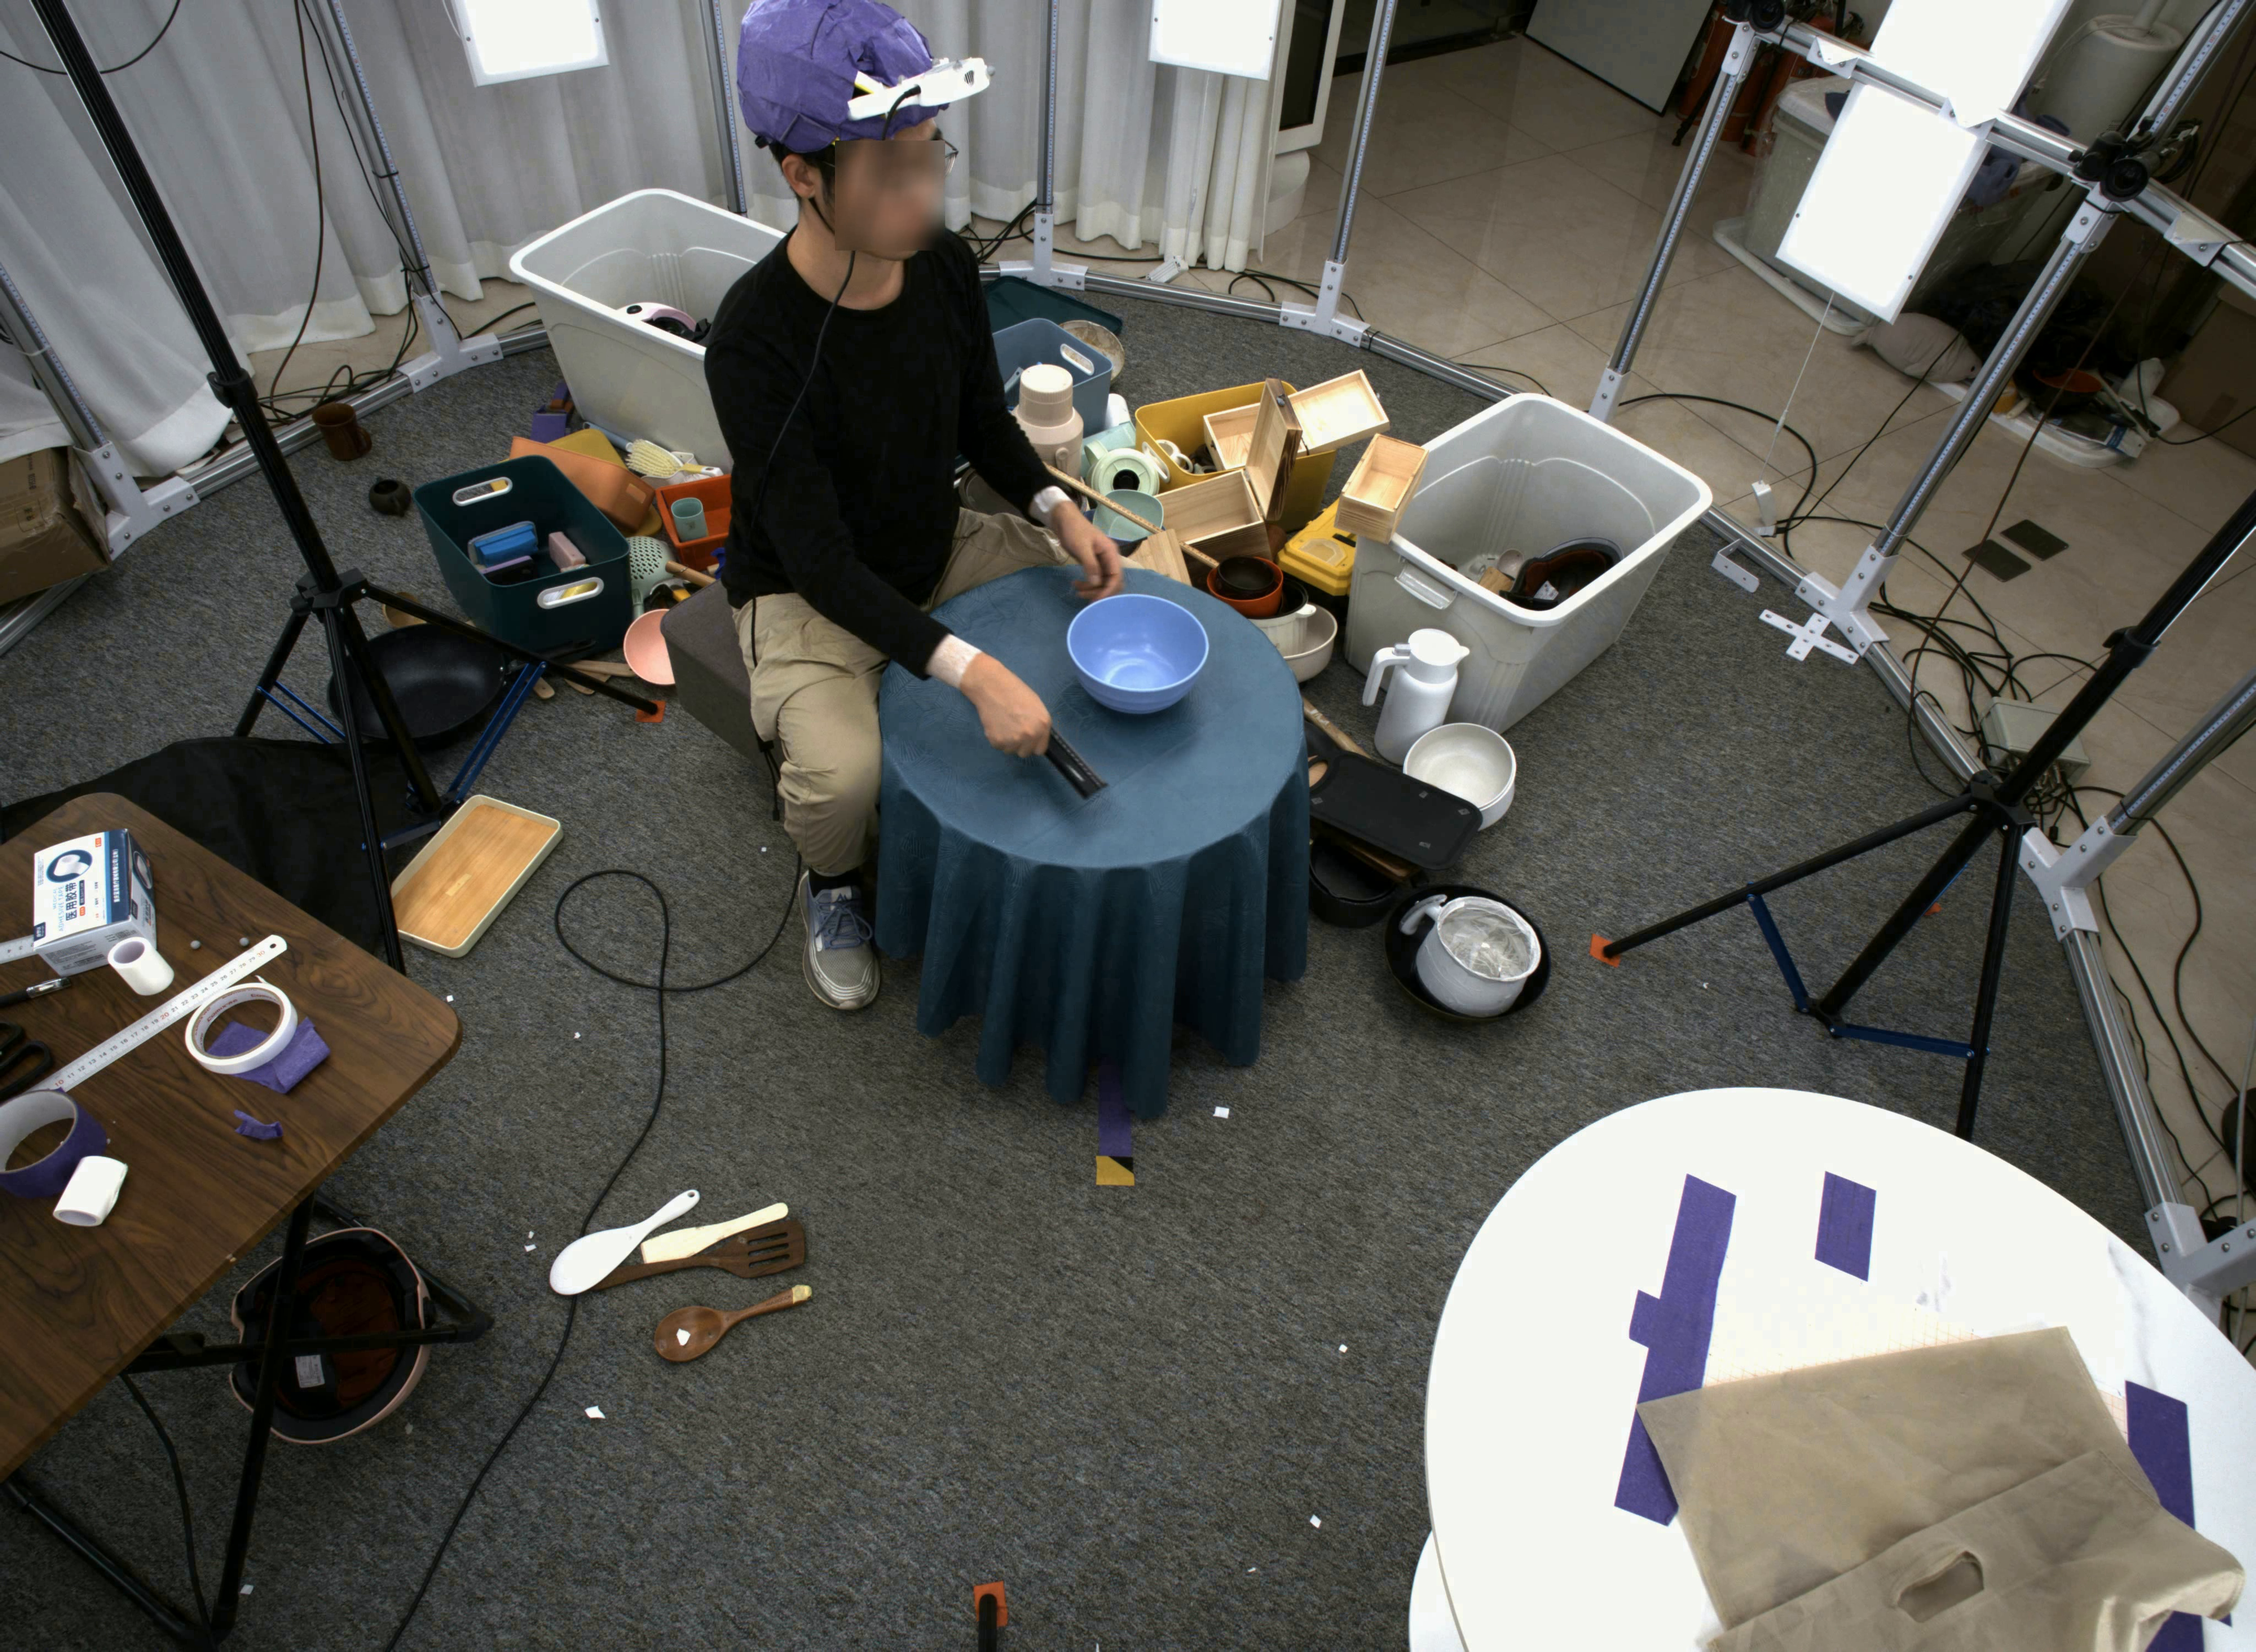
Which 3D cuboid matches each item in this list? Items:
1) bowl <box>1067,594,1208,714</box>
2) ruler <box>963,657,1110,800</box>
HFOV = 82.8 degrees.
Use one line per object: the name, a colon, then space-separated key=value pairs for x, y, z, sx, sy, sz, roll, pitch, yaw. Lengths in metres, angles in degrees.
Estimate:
bowl: x=0.010 y=-0.227 z=1.806 sx=0.196 sy=0.093 sz=0.201 roll=2 pitch=49 yaw=-3
ruler: x=-0.127 y=-0.141 z=1.731 sx=0.039 sy=0.017 sz=0.318 roll=-30 pitch=54 yaw=-19
